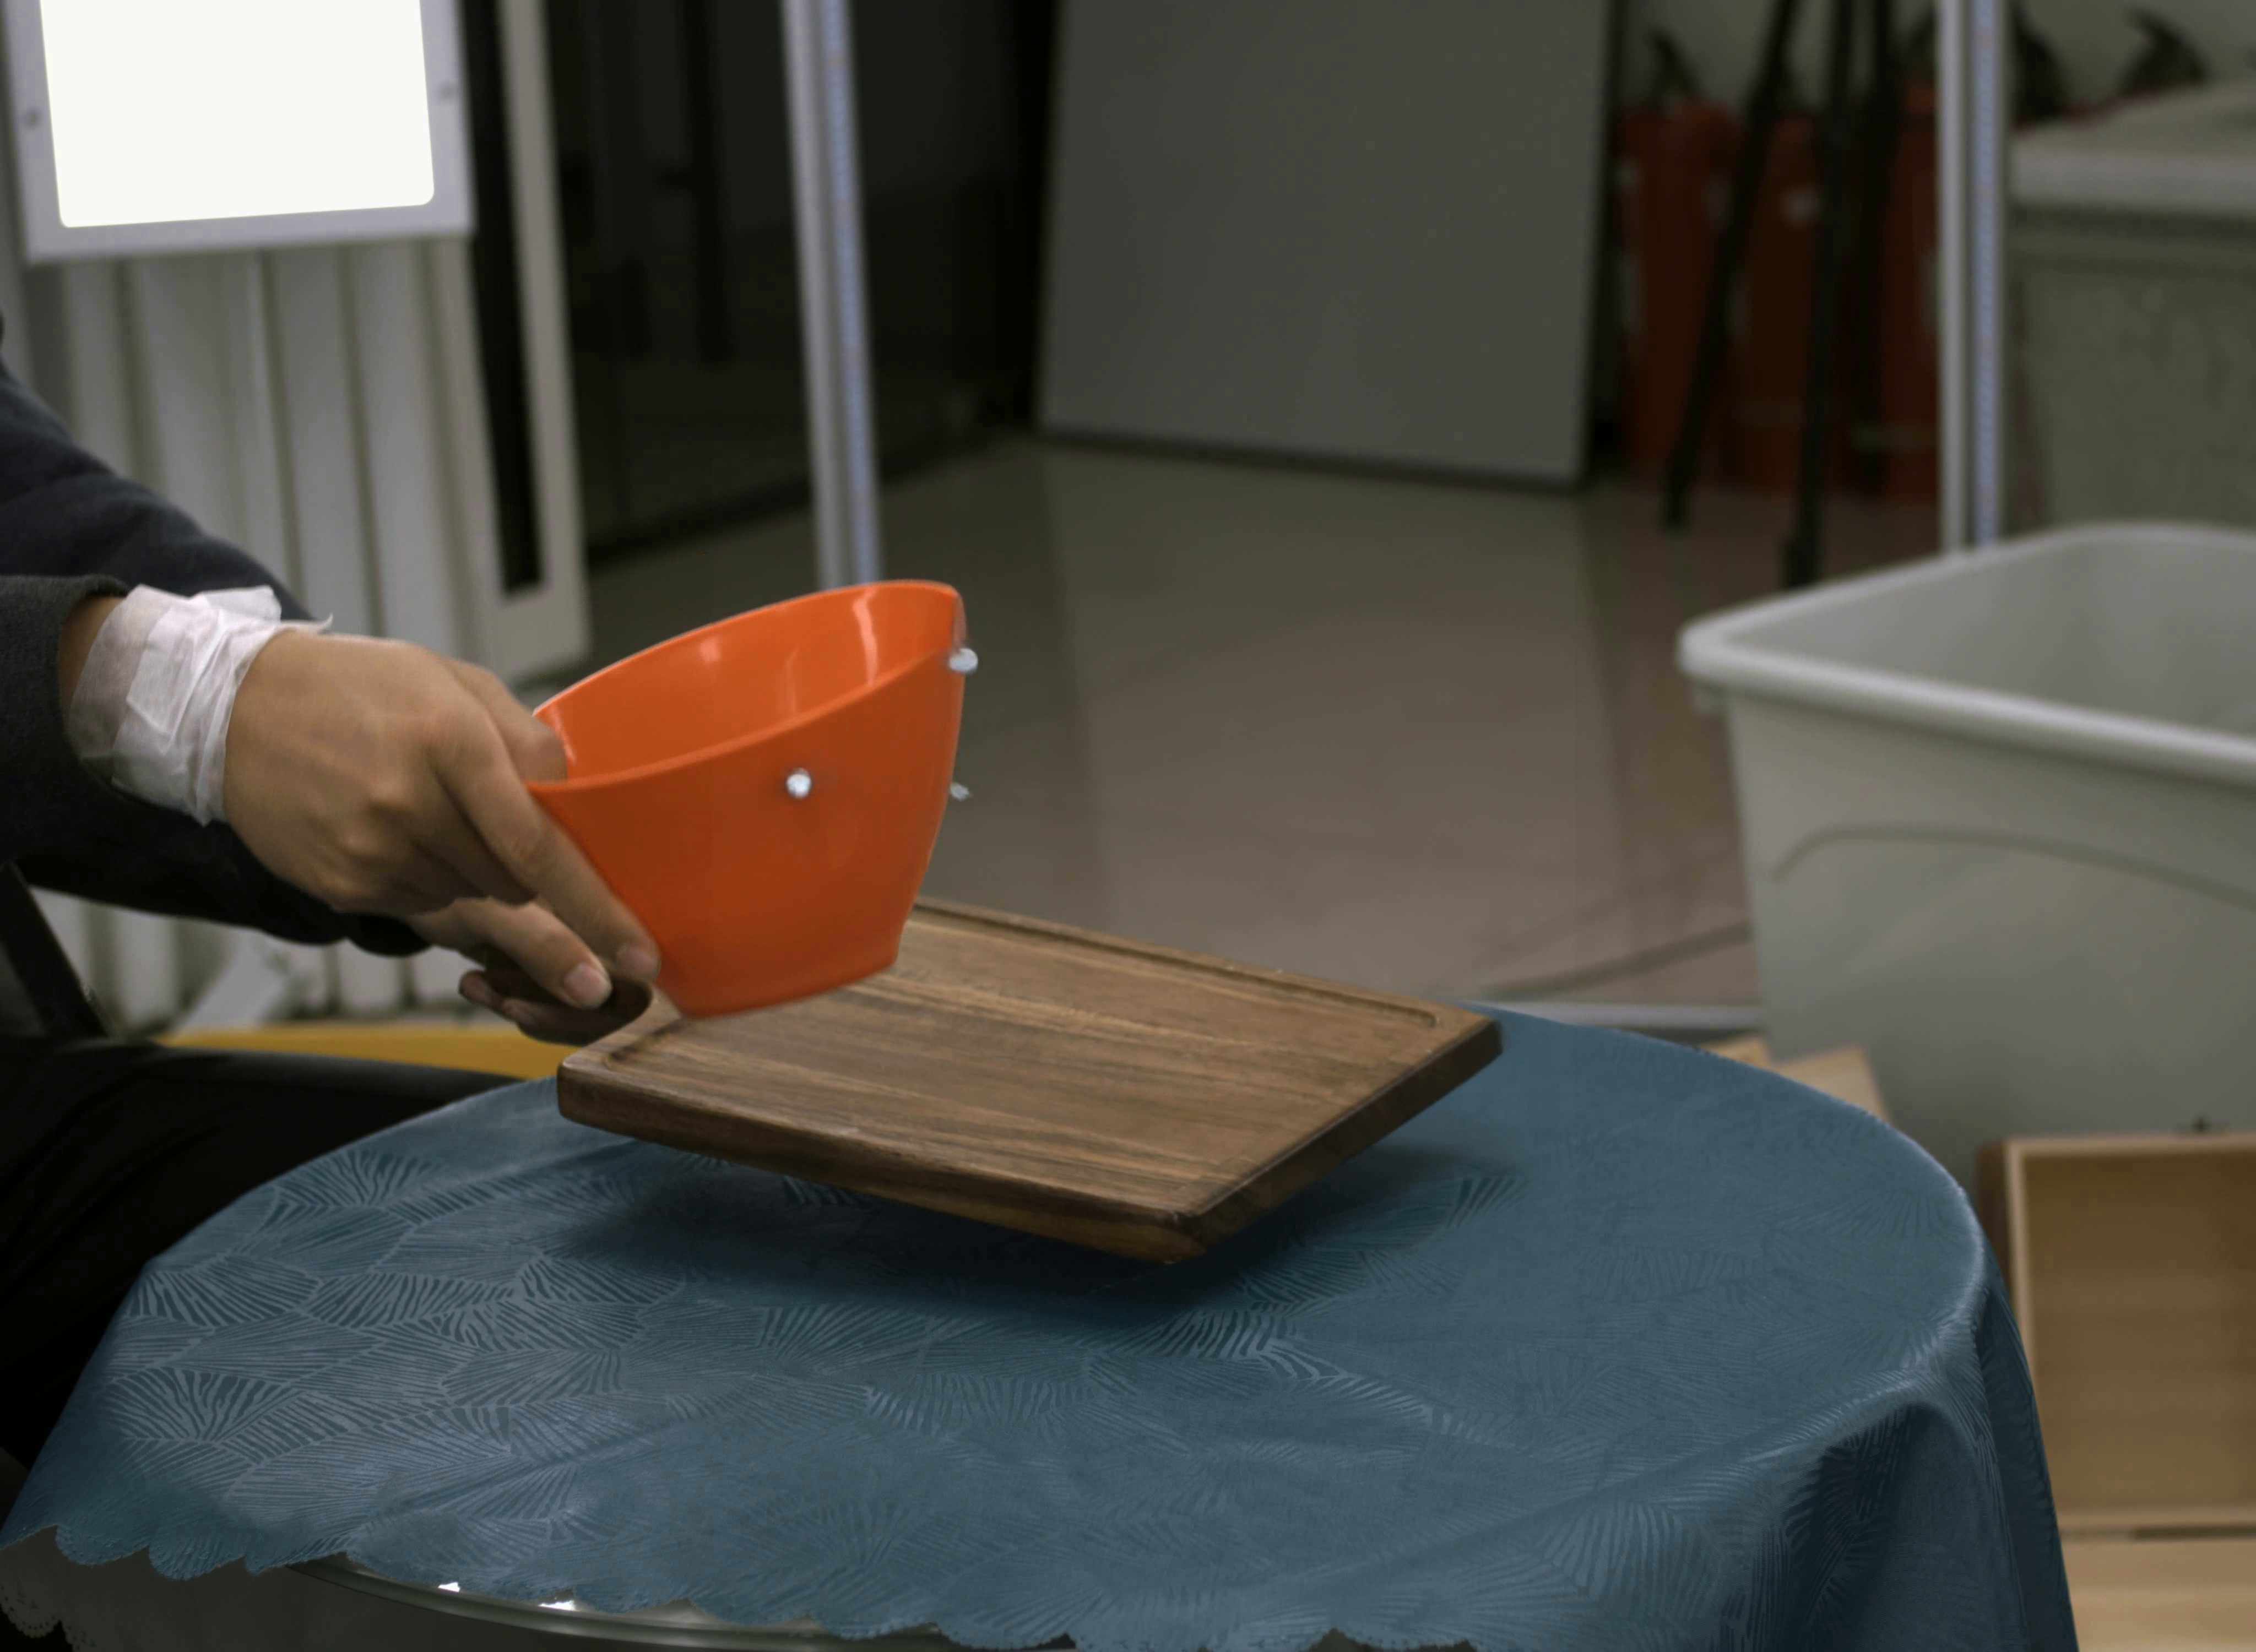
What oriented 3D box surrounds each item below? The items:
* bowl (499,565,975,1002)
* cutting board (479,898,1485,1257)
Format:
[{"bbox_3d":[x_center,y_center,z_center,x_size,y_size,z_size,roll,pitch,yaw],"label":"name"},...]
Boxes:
[{"bbox_3d":[-0.105,-0.009,1.586,0.146,0.106,0.148,-14,6,1],"label":"bowl"},{"bbox_3d":[-0.075,0.071,1.800,0.354,0.023,0.198,10,22,33],"label":"cutting board"}]
